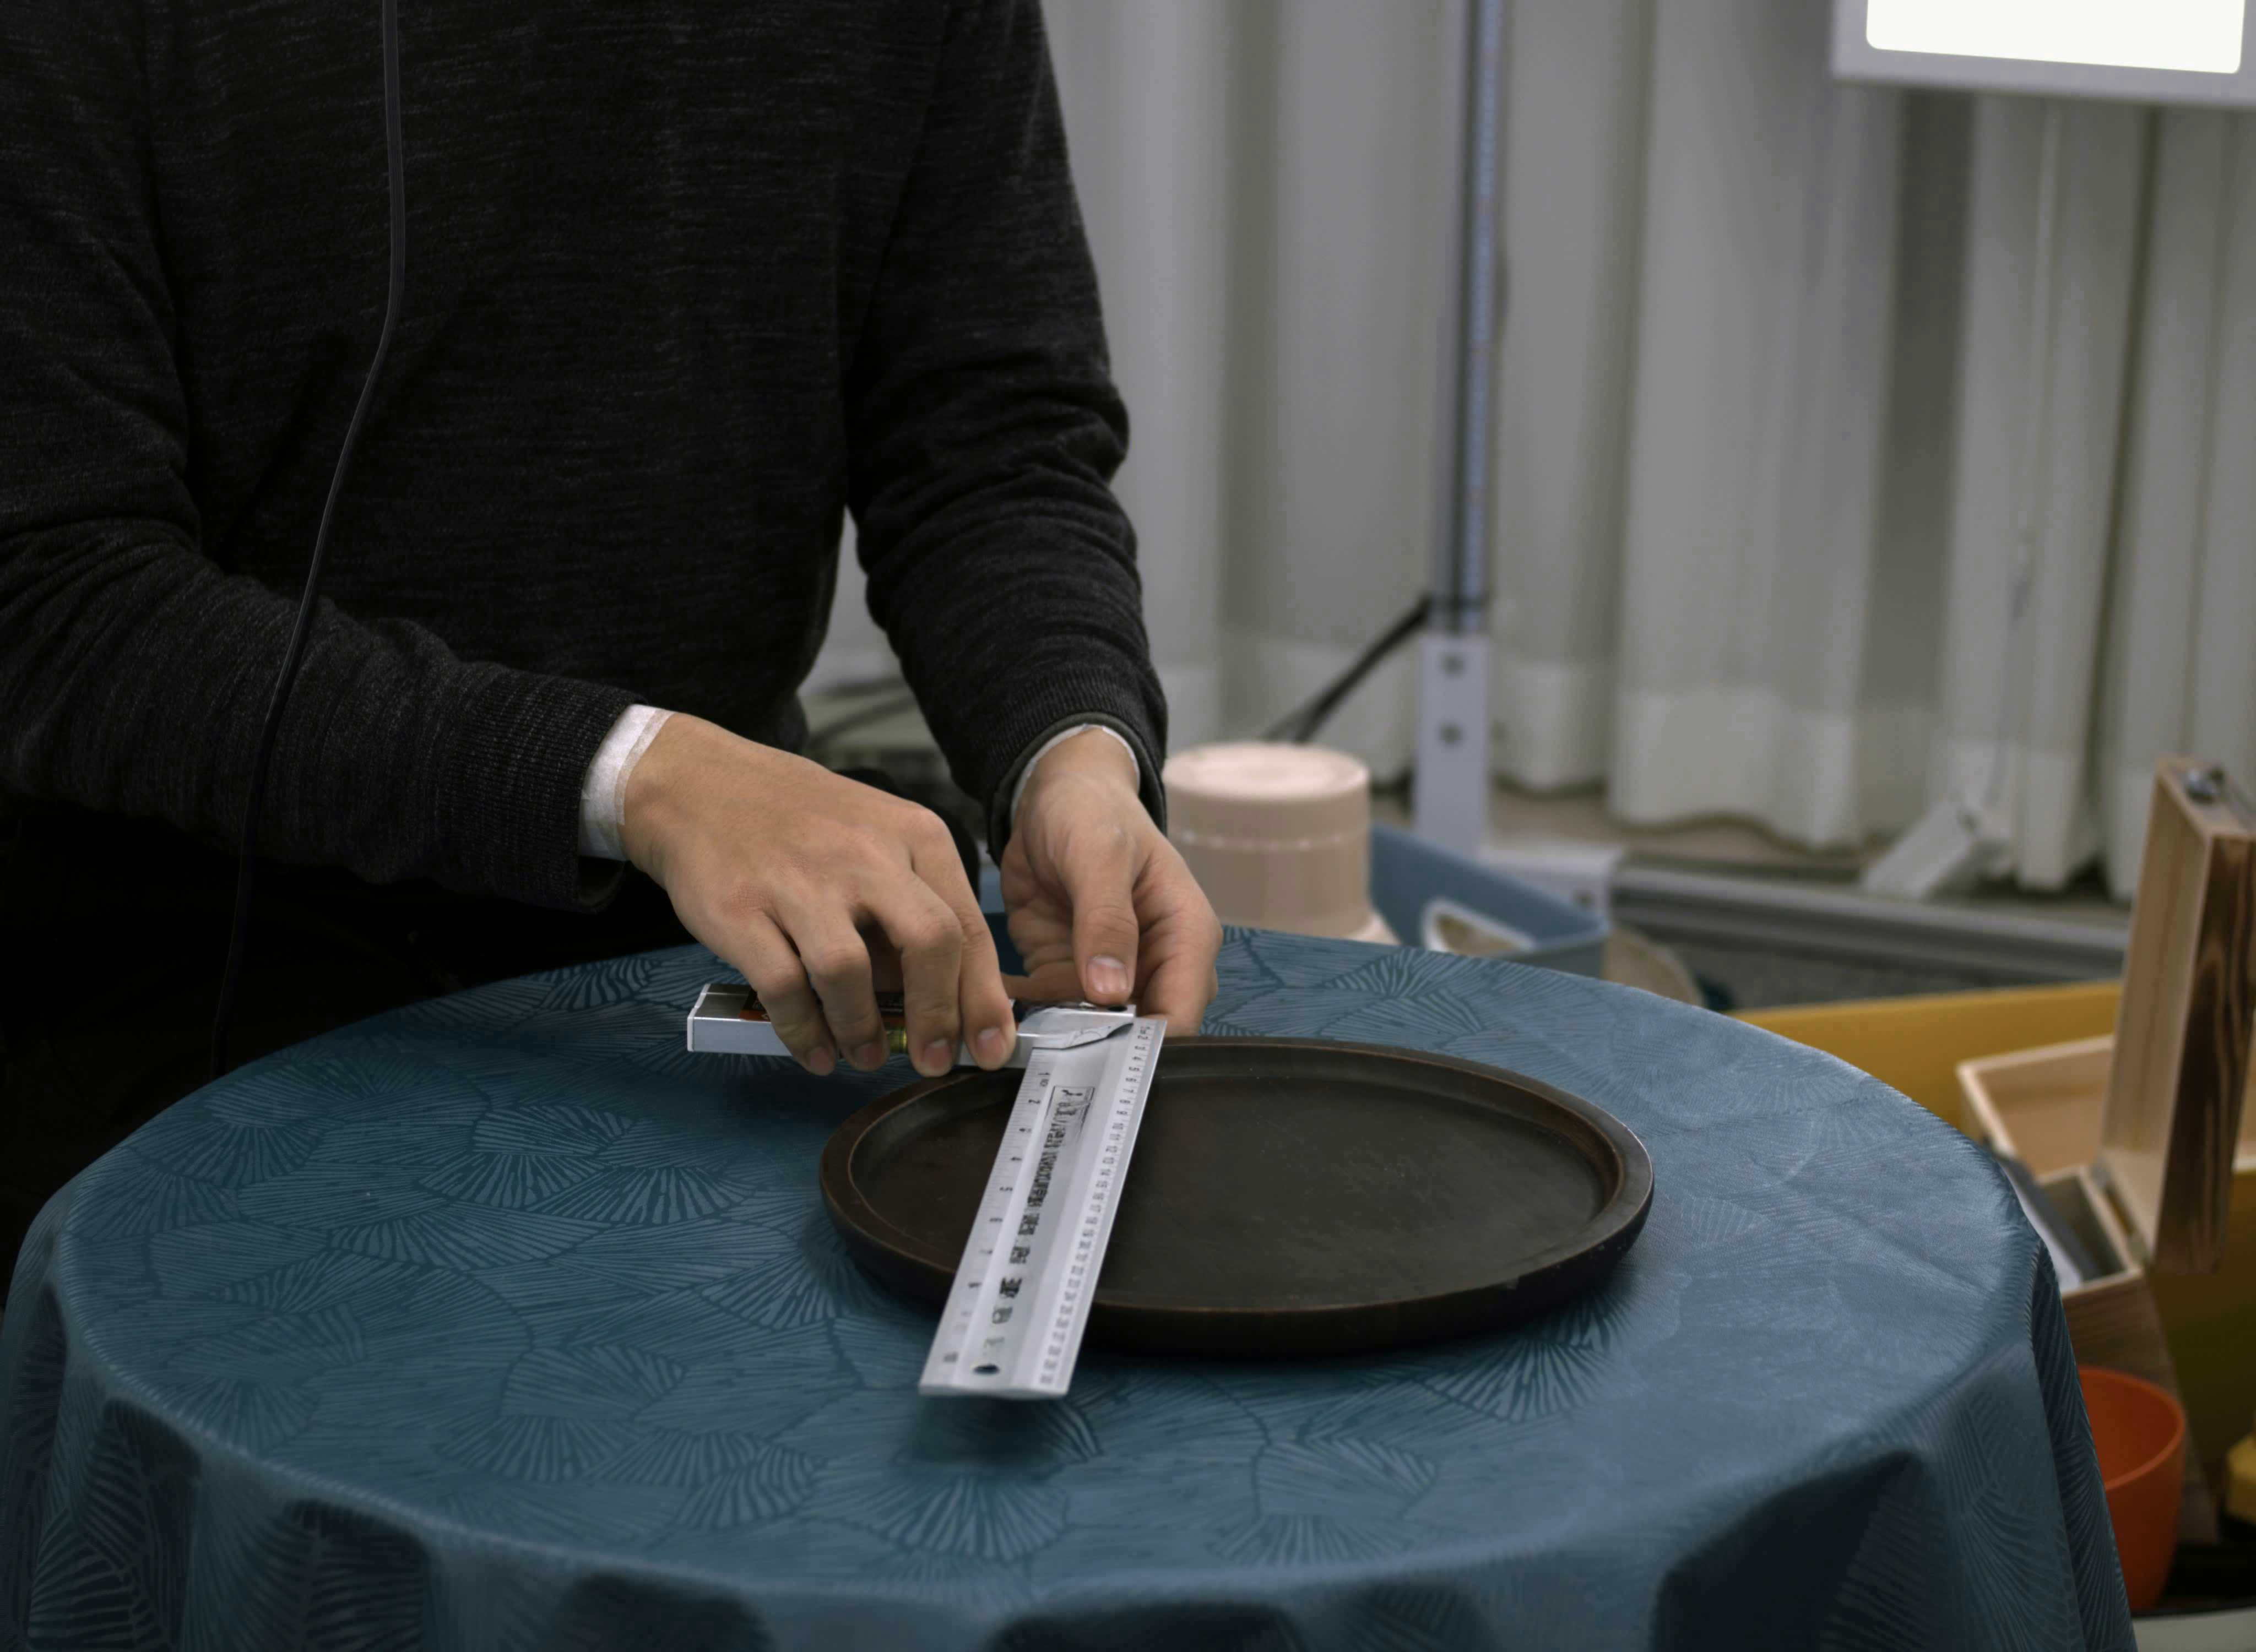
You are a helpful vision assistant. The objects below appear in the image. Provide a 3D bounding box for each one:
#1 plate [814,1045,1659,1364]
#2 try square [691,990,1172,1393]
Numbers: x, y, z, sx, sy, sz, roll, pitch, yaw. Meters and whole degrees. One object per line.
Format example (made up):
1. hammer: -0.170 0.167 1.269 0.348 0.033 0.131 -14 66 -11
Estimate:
1. plate: 0.033 0.110 1.585 0.254 0.029 0.253 1 16 0
2. try square: -0.075 0.104 1.553 0.151 0.016 0.311 2 17 5
